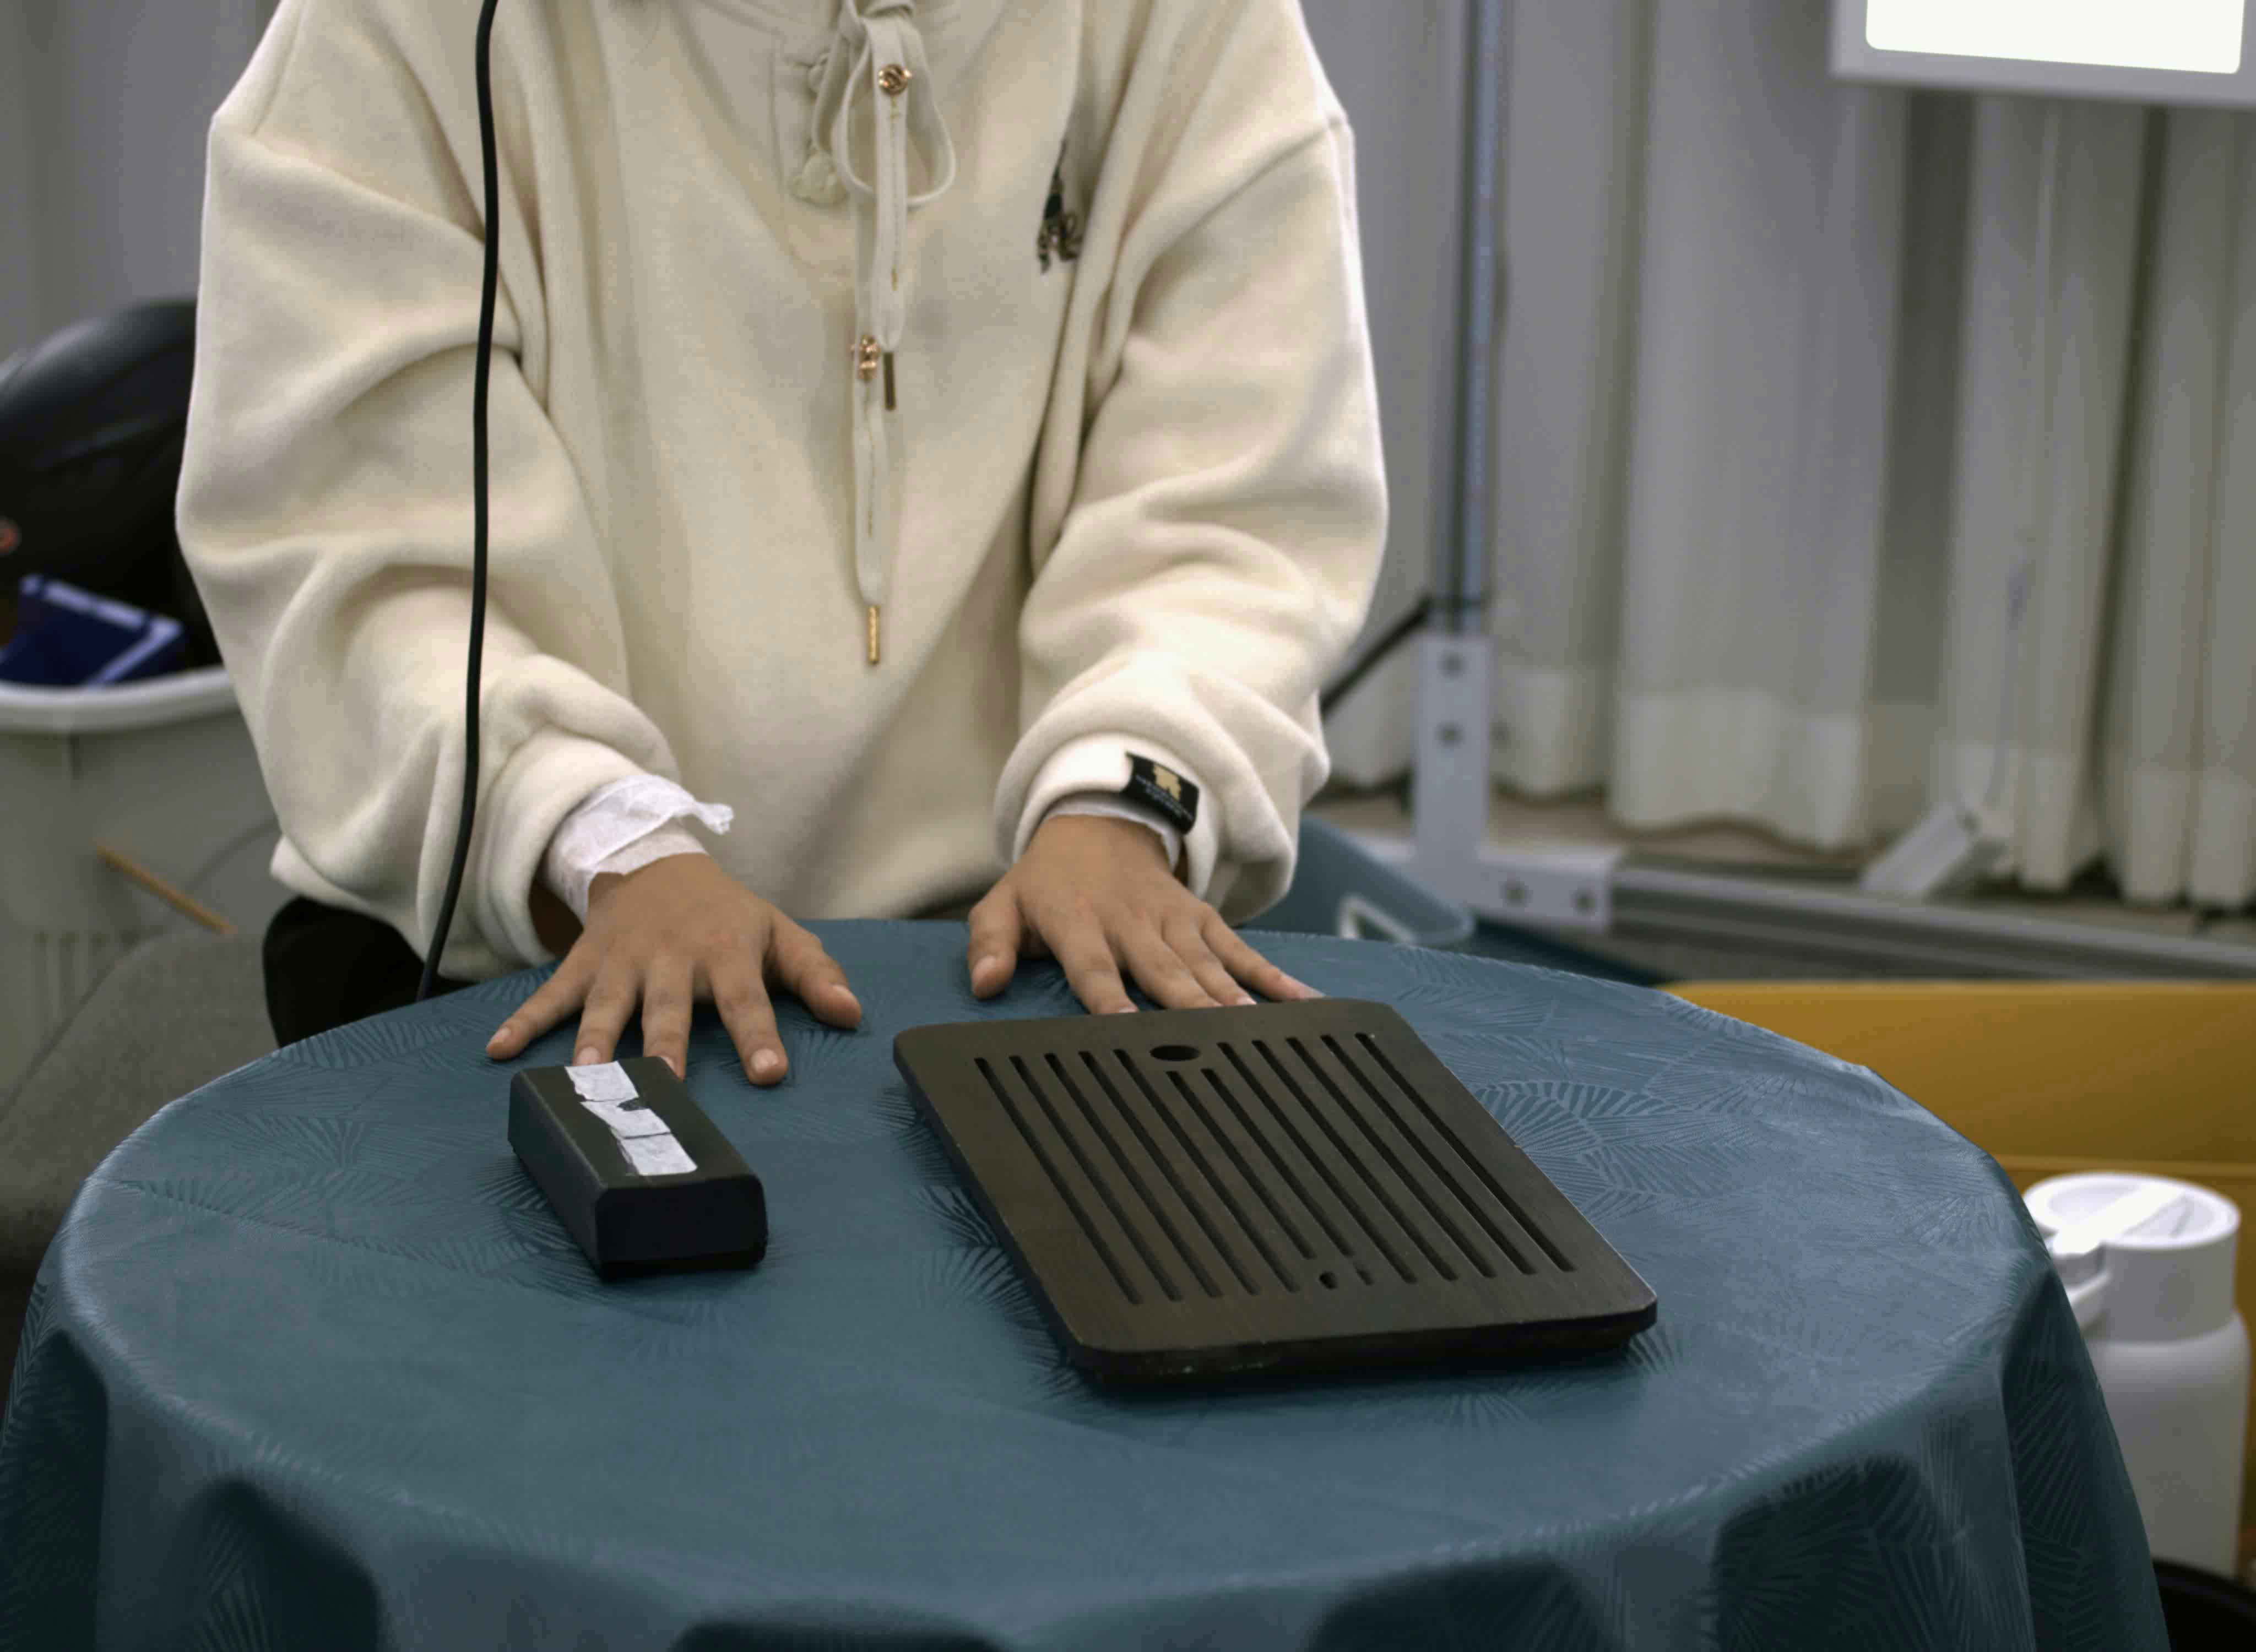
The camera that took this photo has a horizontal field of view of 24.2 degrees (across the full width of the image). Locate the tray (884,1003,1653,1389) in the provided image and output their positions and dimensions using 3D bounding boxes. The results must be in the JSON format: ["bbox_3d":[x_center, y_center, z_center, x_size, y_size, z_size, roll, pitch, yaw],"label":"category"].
[{"bbox_3d":[0.034,0.109,1.601,0.170,0.019,0.303,-3,16,-13],"label":"tray"}]

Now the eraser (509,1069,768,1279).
[{"bbox_3d":[-0.149,0.104,1.595,0.053,0.030,0.124,-2,14,-18],"label":"eraser"}]
